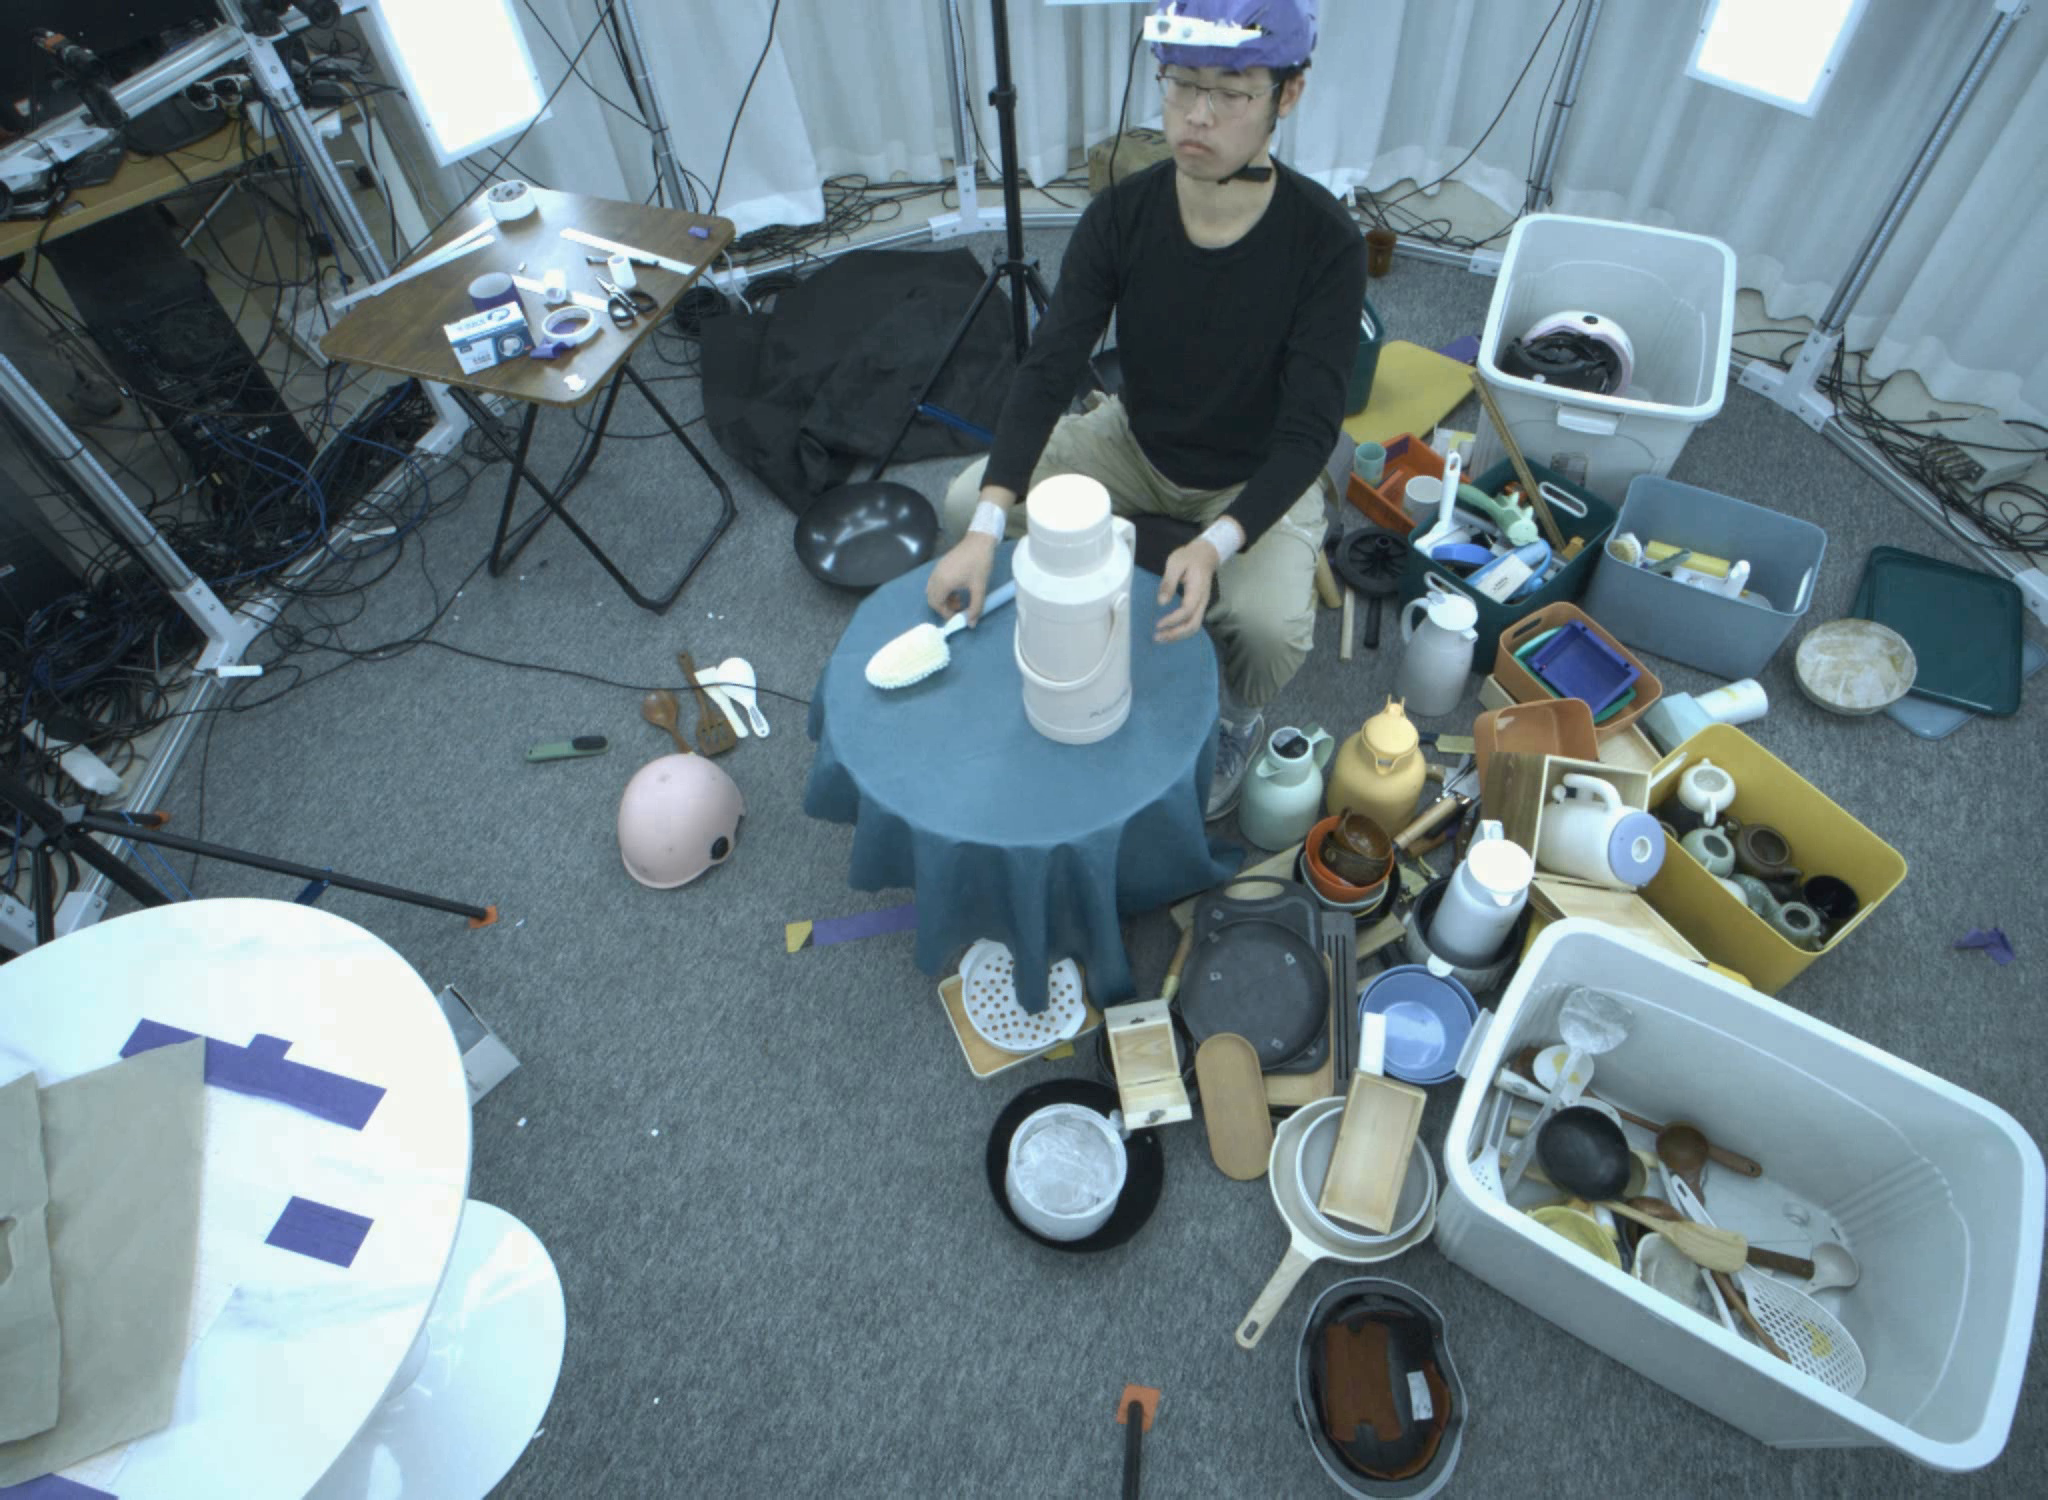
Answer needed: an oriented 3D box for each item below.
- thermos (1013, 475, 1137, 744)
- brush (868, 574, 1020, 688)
[{"bbox_3d":[0.080,-0.195,1.679,0.172,0.411,0.208,33,63,26],"label":"thermos"},{"bbox_3d":[-0.099,-0.194,1.881,0.328,0.084,0.083,-34,59,-20],"label":"brush"}]
